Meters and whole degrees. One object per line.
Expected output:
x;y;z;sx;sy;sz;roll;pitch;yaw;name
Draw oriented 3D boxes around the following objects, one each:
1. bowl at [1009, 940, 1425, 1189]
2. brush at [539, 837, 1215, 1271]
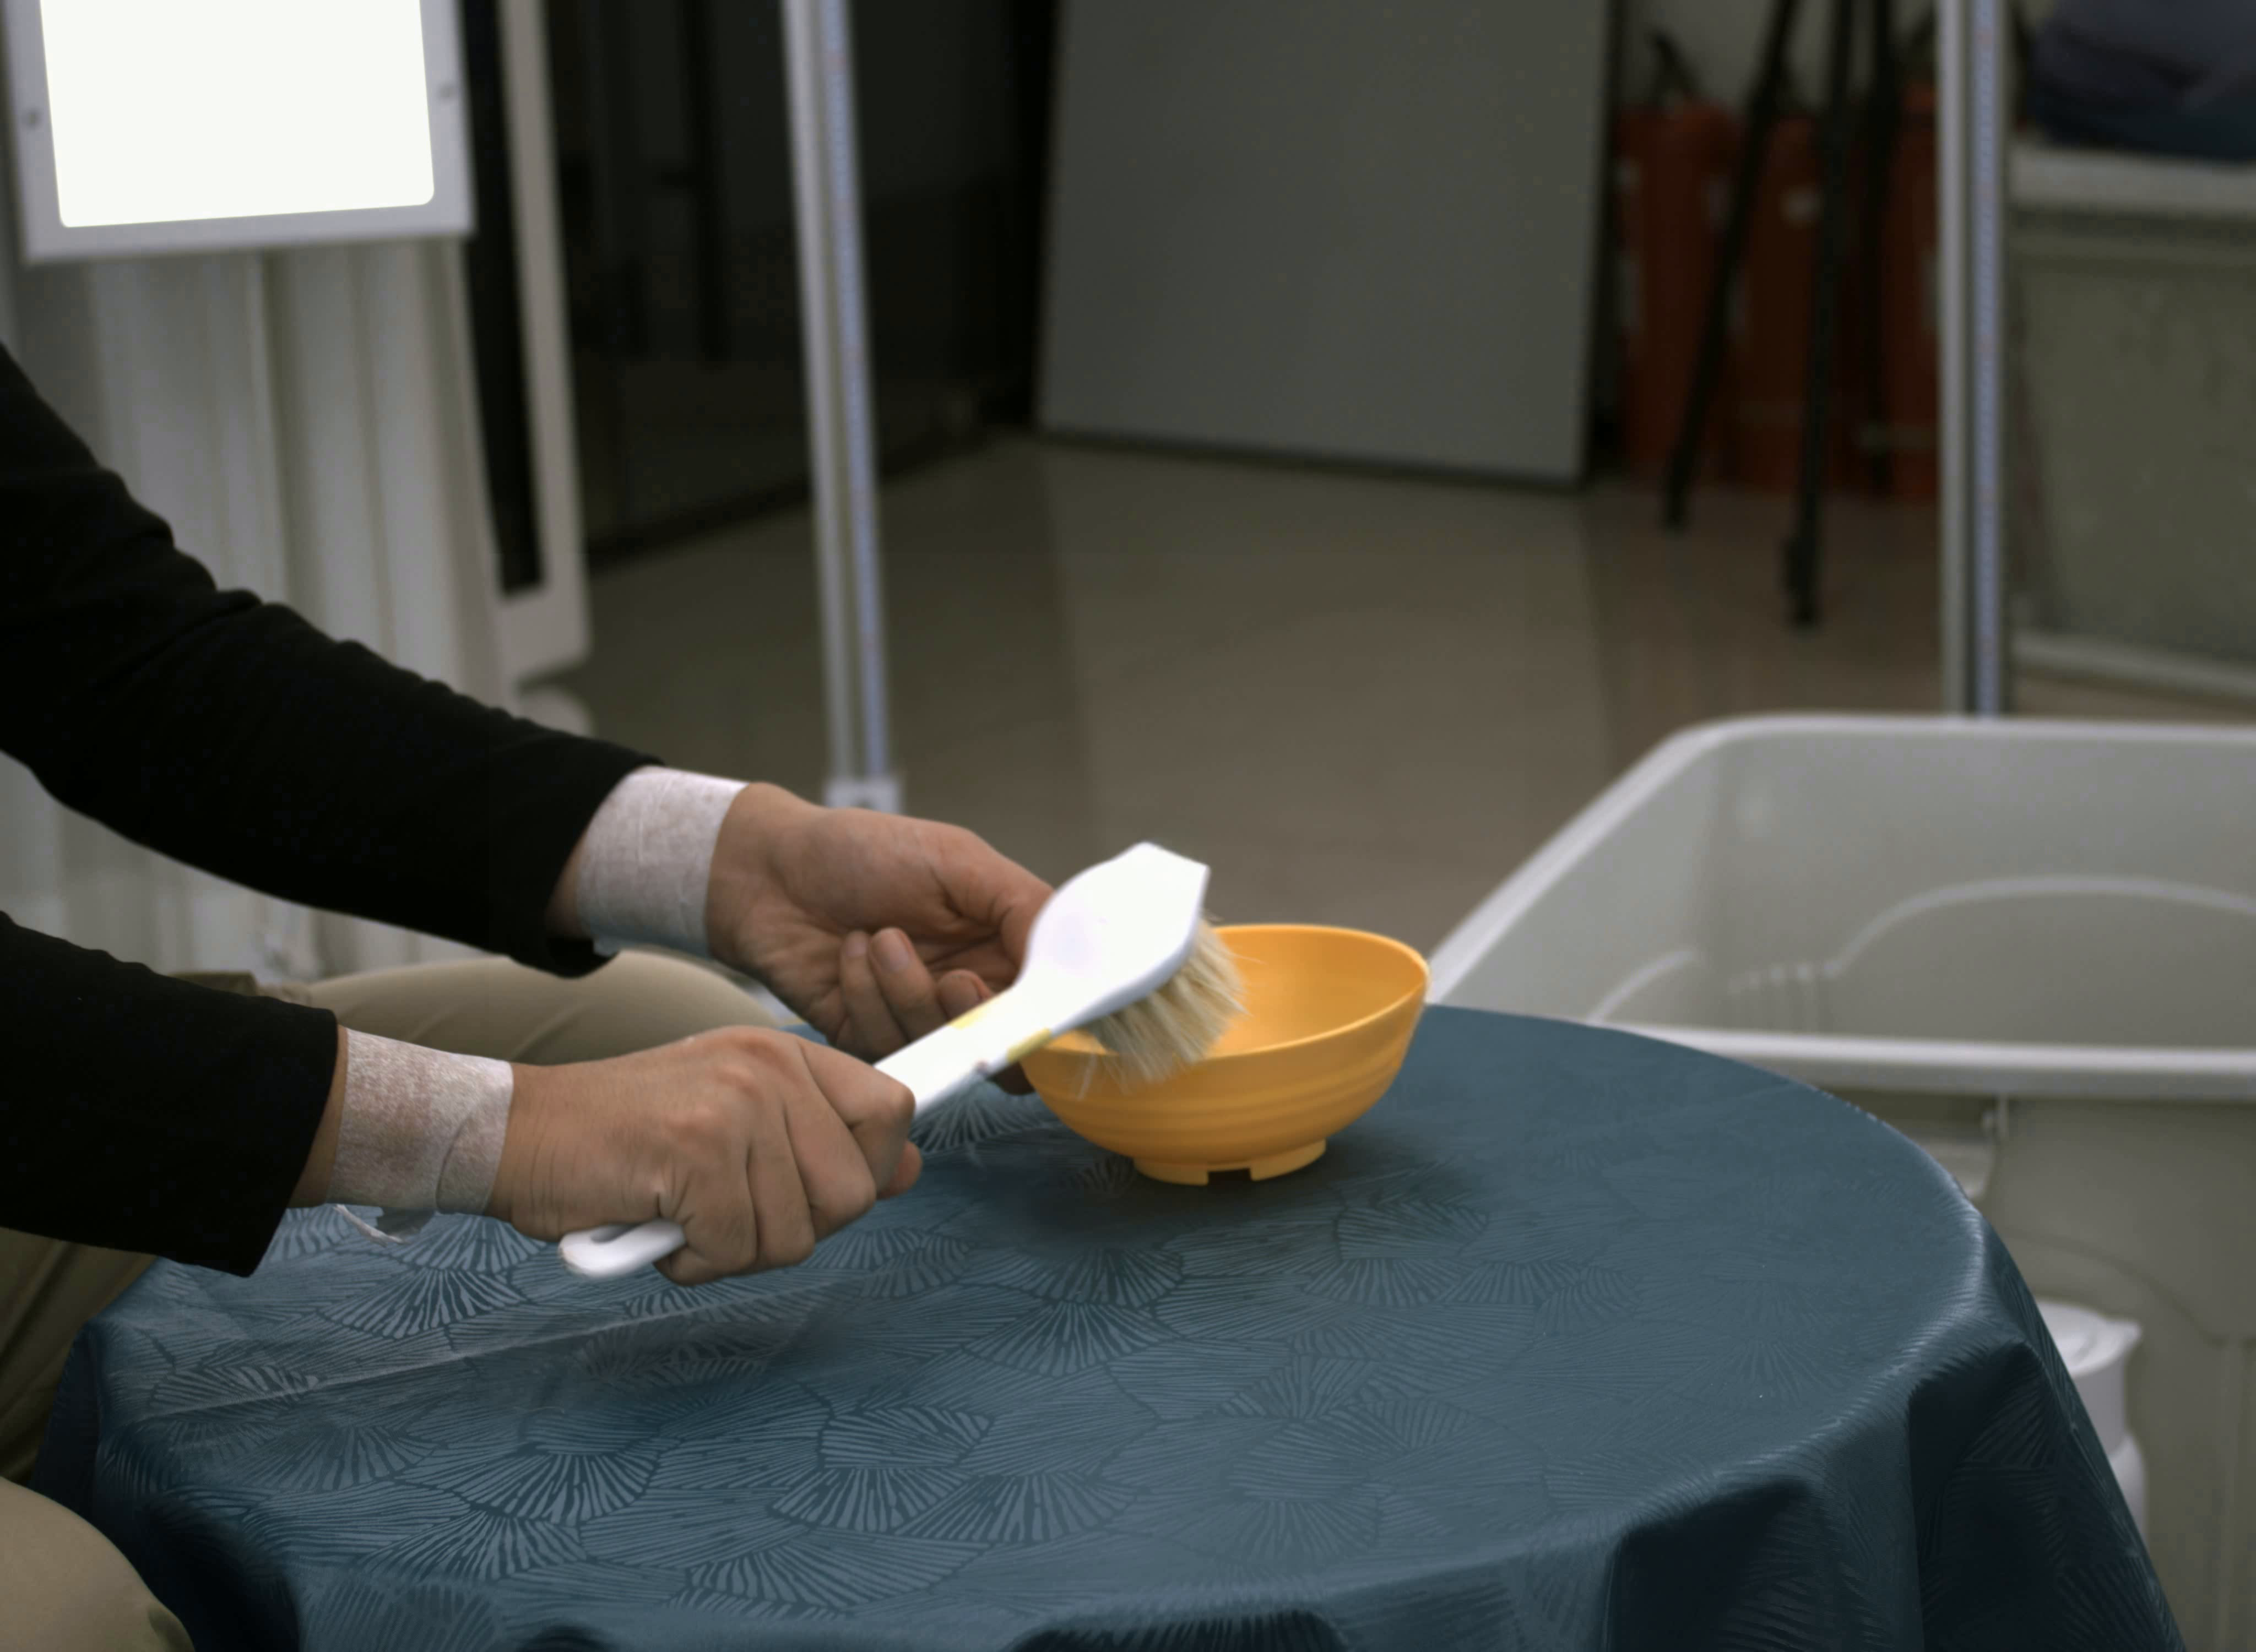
0.031;0.083;1.790;0.143;0.061;0.145;-7;12;0;bowl
-0.075;0.087;1.680;0.262;0.056;0.069;-35;30;-33;brush
